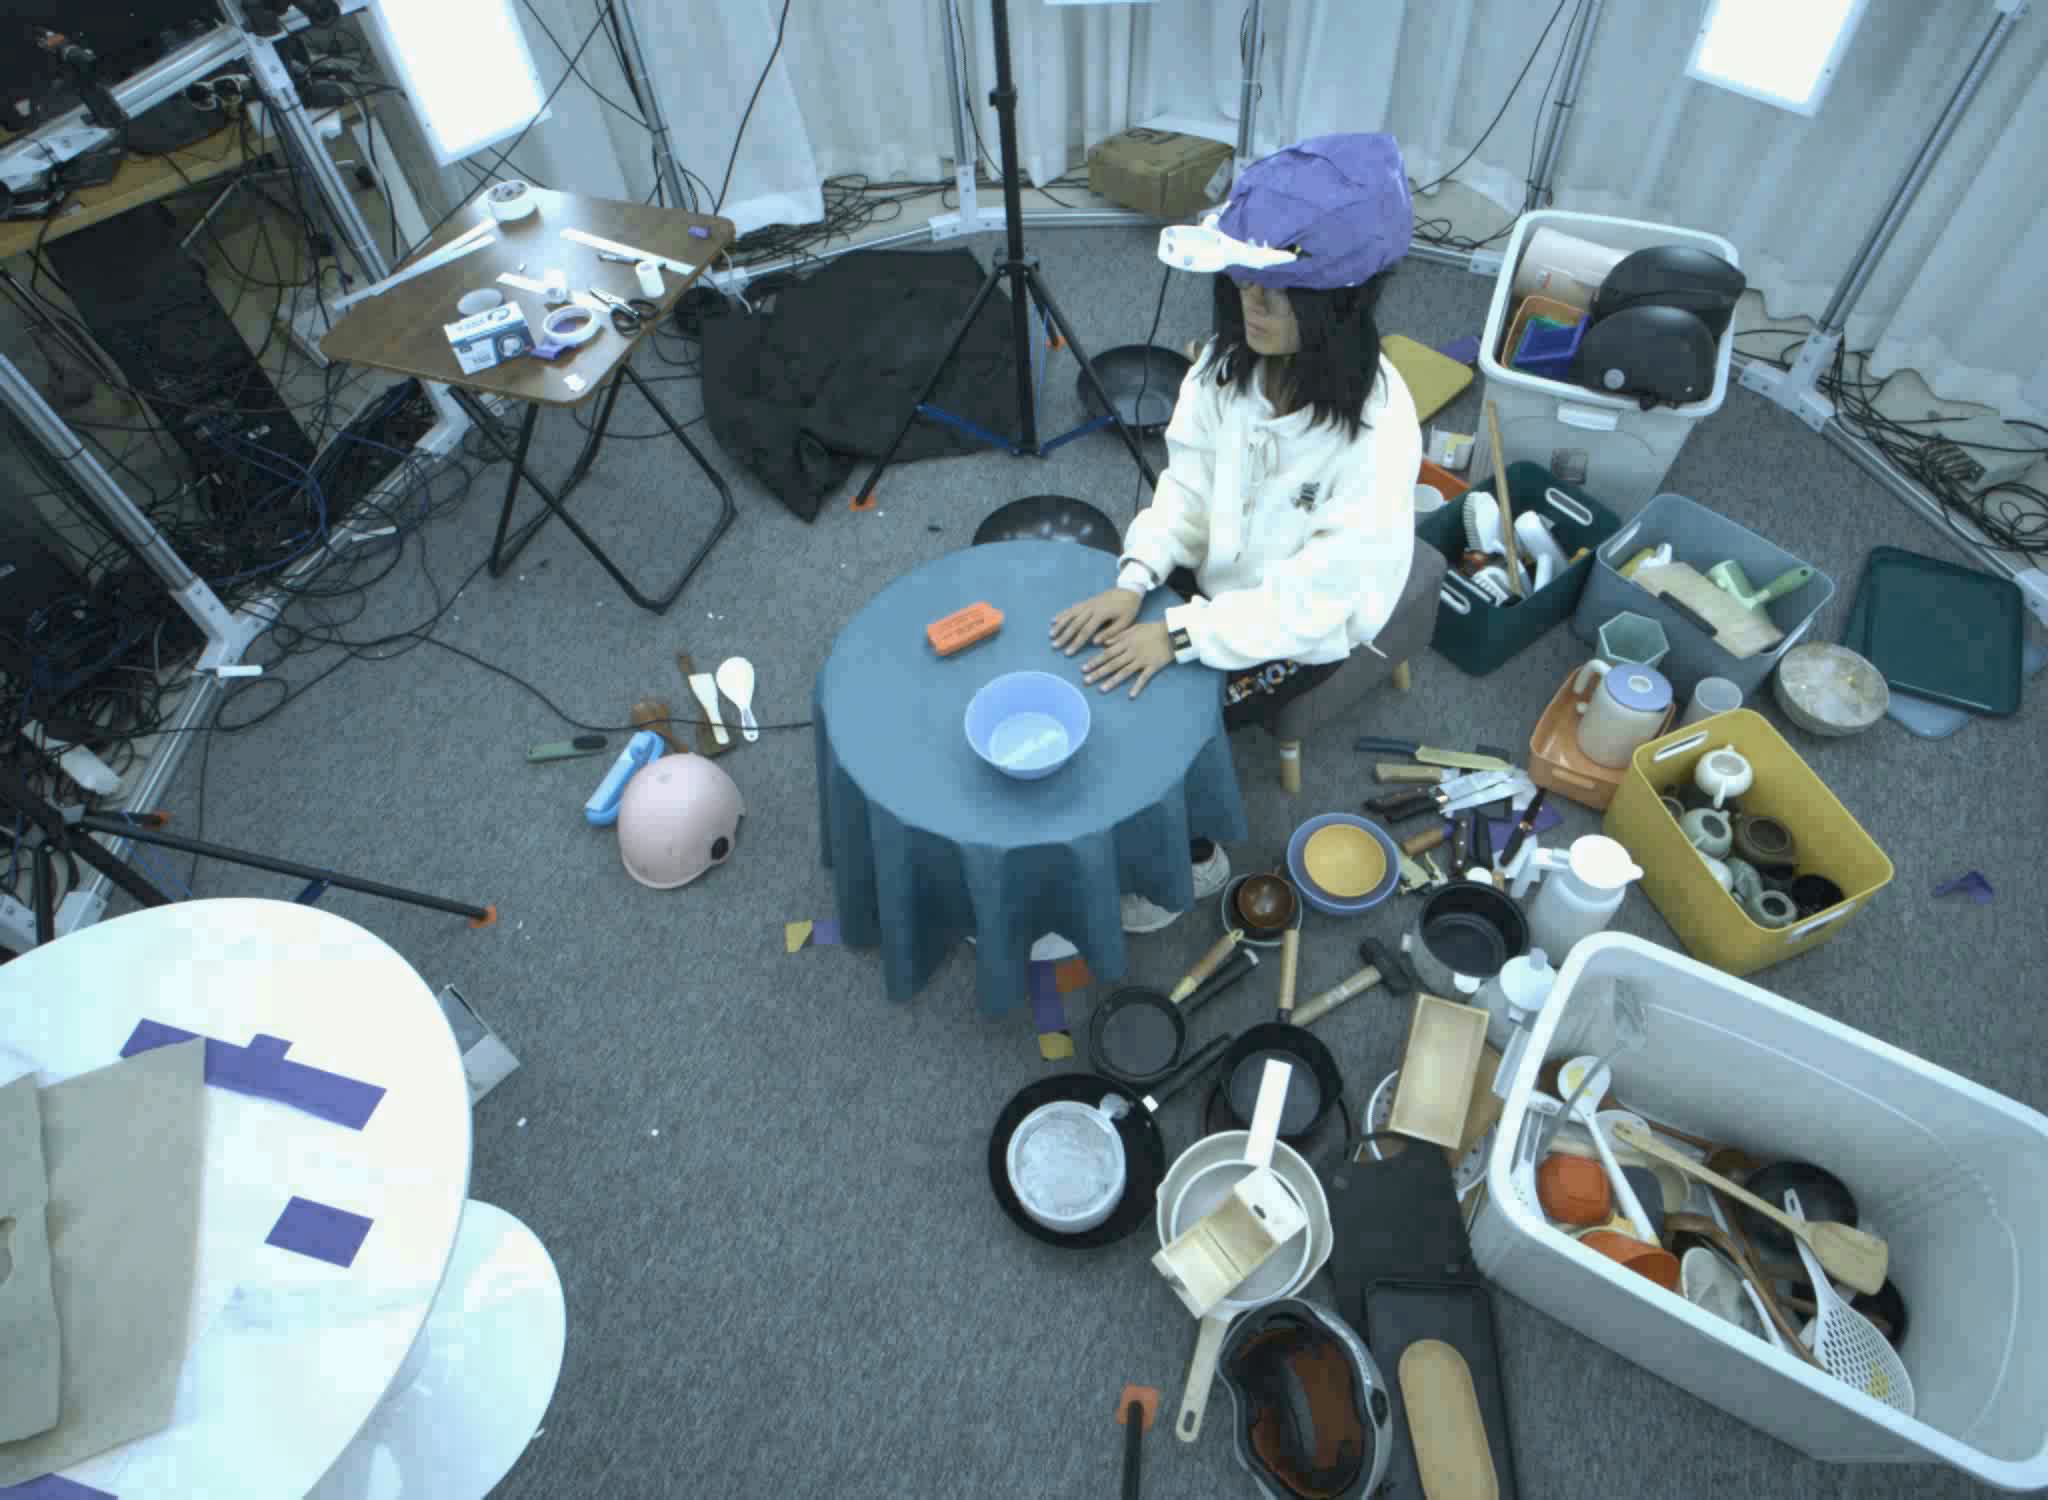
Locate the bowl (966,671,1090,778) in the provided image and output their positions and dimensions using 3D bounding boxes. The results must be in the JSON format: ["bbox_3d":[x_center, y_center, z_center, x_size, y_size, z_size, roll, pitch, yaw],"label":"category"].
[{"bbox_3d":[0.007,-0.026,1.762,0.176,0.071,0.174,-1,55,2],"label":"bowl"}]

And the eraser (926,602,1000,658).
[{"bbox_3d":[-0.096,-0.188,1.909,0.109,0.023,0.058,-27,56,-16],"label":"eraser"}]
